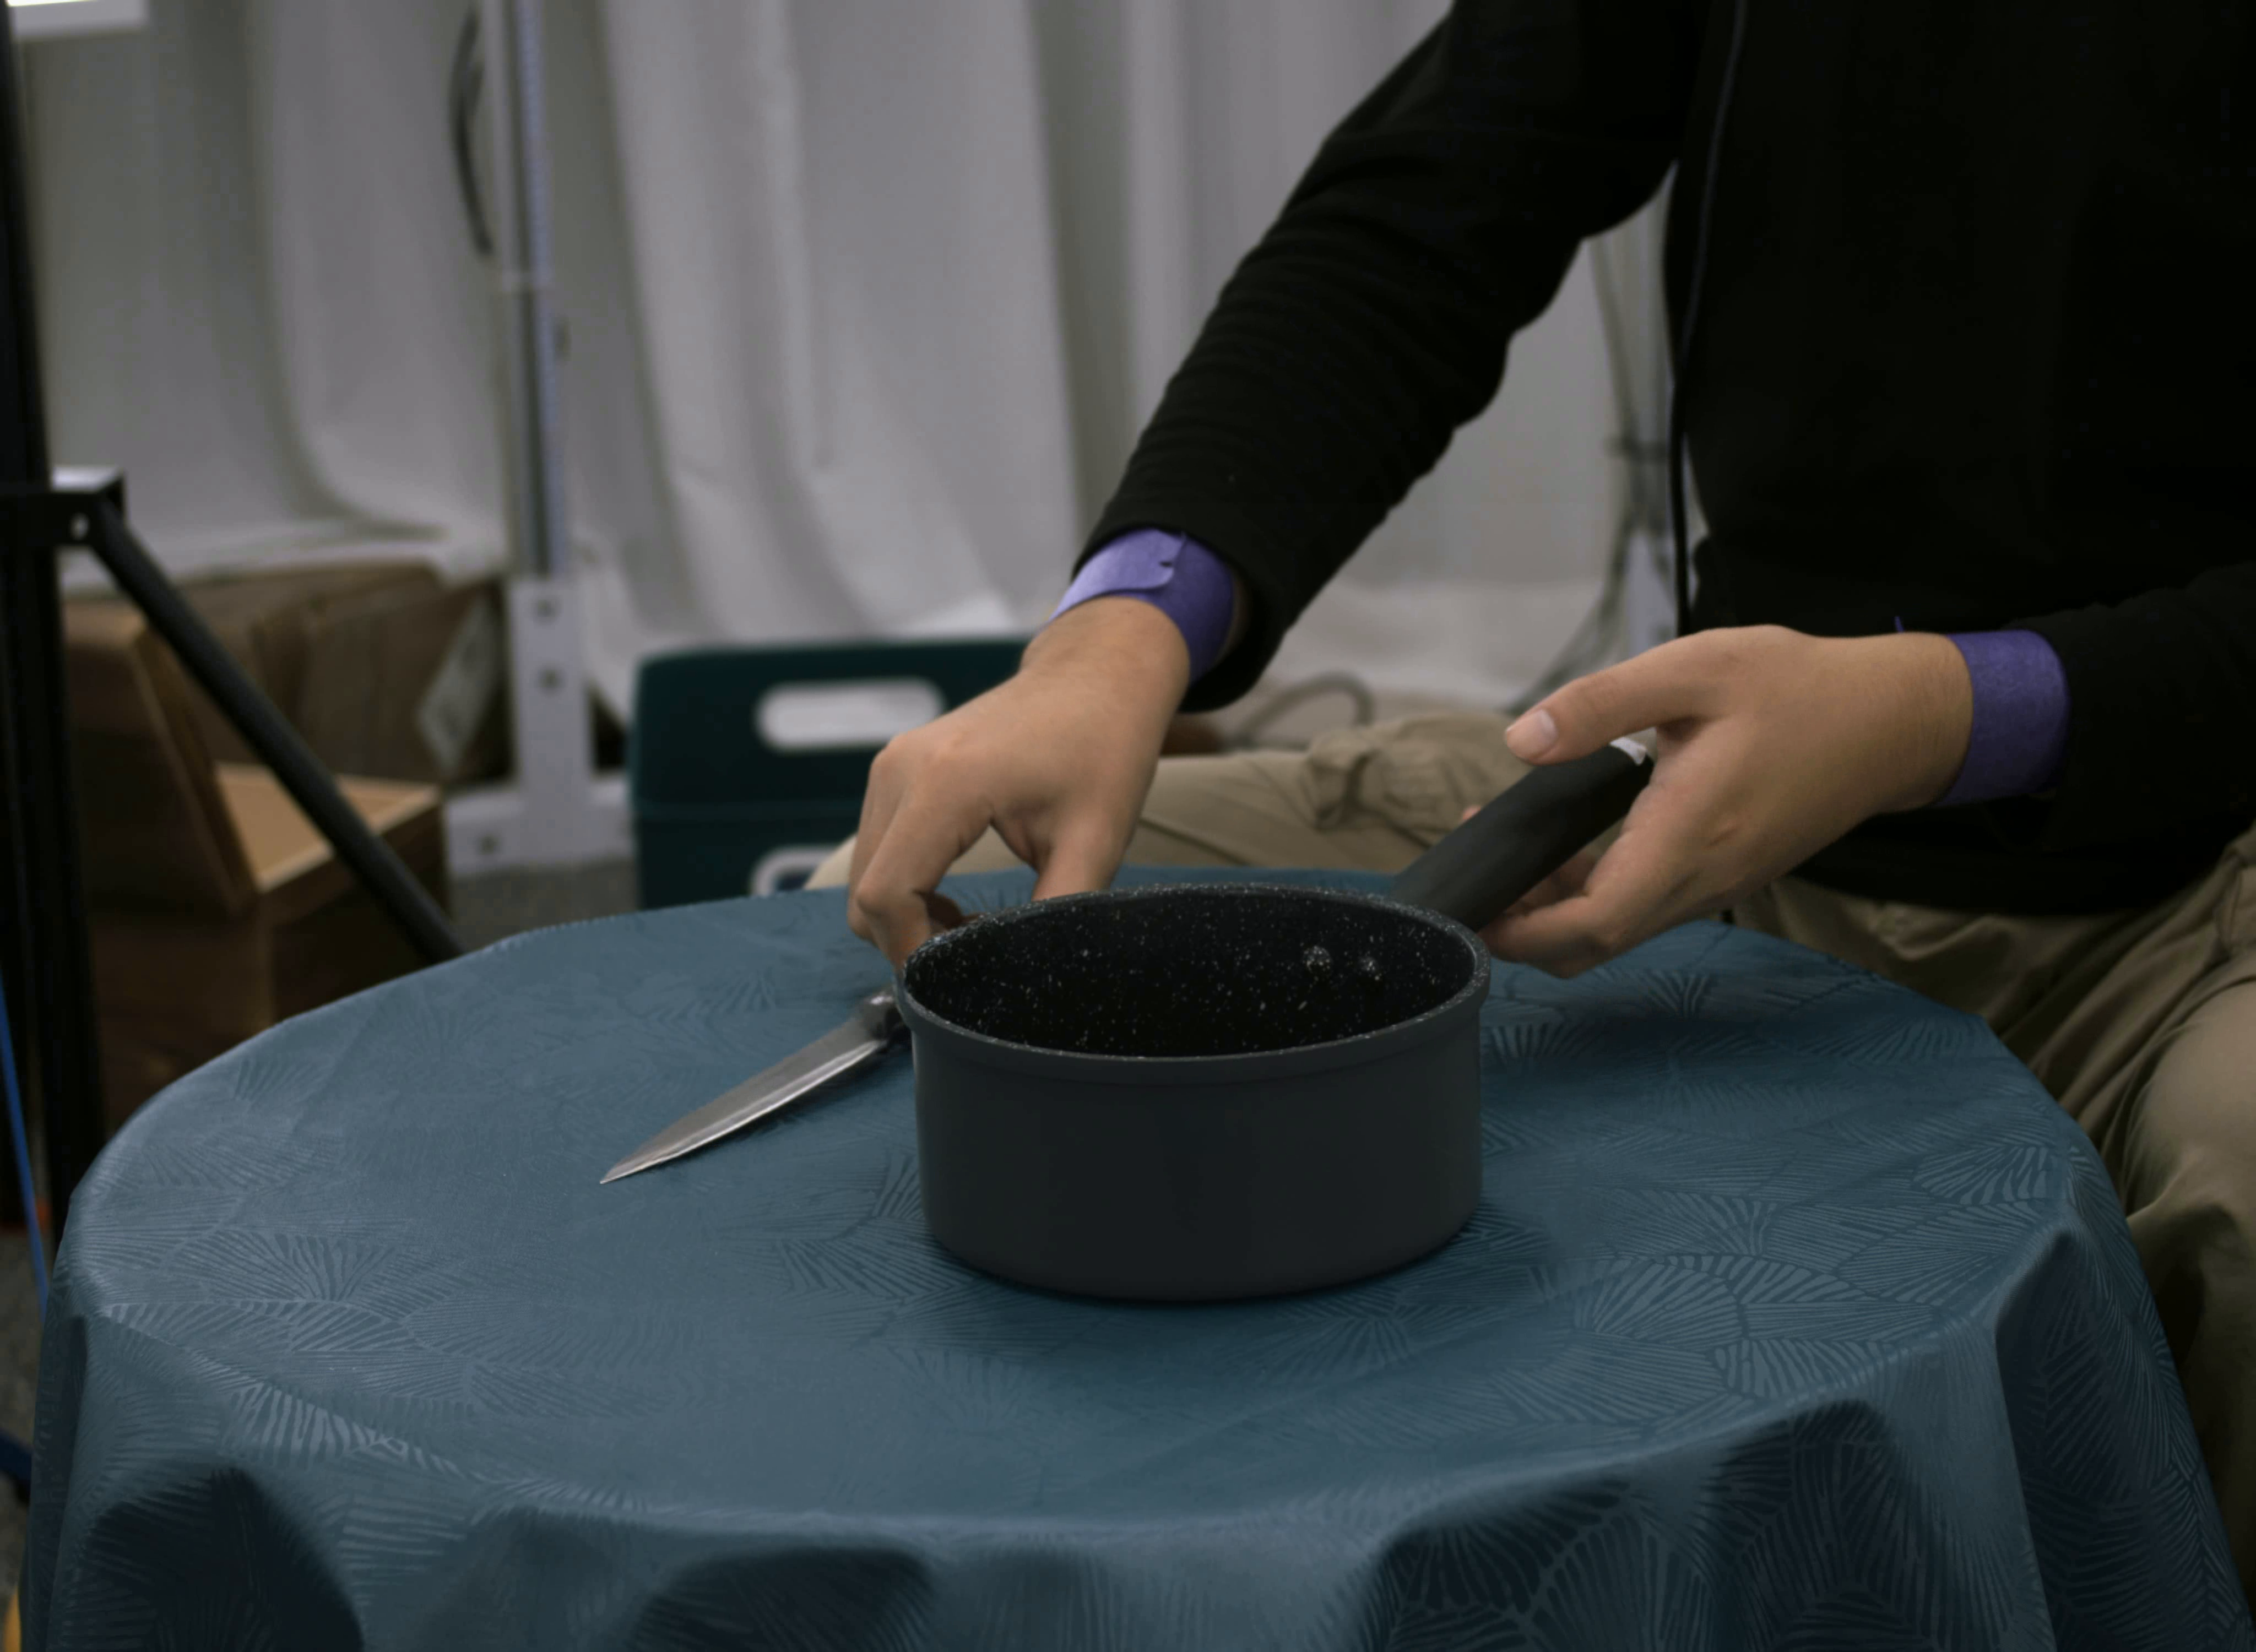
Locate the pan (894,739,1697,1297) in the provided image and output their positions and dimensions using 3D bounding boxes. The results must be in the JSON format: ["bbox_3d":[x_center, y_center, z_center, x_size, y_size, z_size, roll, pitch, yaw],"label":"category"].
[{"bbox_3d":[0.068,0.054,1.582,0.176,0.086,0.322,10,21,38],"label":"pan"}]

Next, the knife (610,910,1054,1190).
[{"bbox_3d":[-0.088,0.070,1.673,0.025,0.016,0.234,10,25,35],"label":"knife"}]
